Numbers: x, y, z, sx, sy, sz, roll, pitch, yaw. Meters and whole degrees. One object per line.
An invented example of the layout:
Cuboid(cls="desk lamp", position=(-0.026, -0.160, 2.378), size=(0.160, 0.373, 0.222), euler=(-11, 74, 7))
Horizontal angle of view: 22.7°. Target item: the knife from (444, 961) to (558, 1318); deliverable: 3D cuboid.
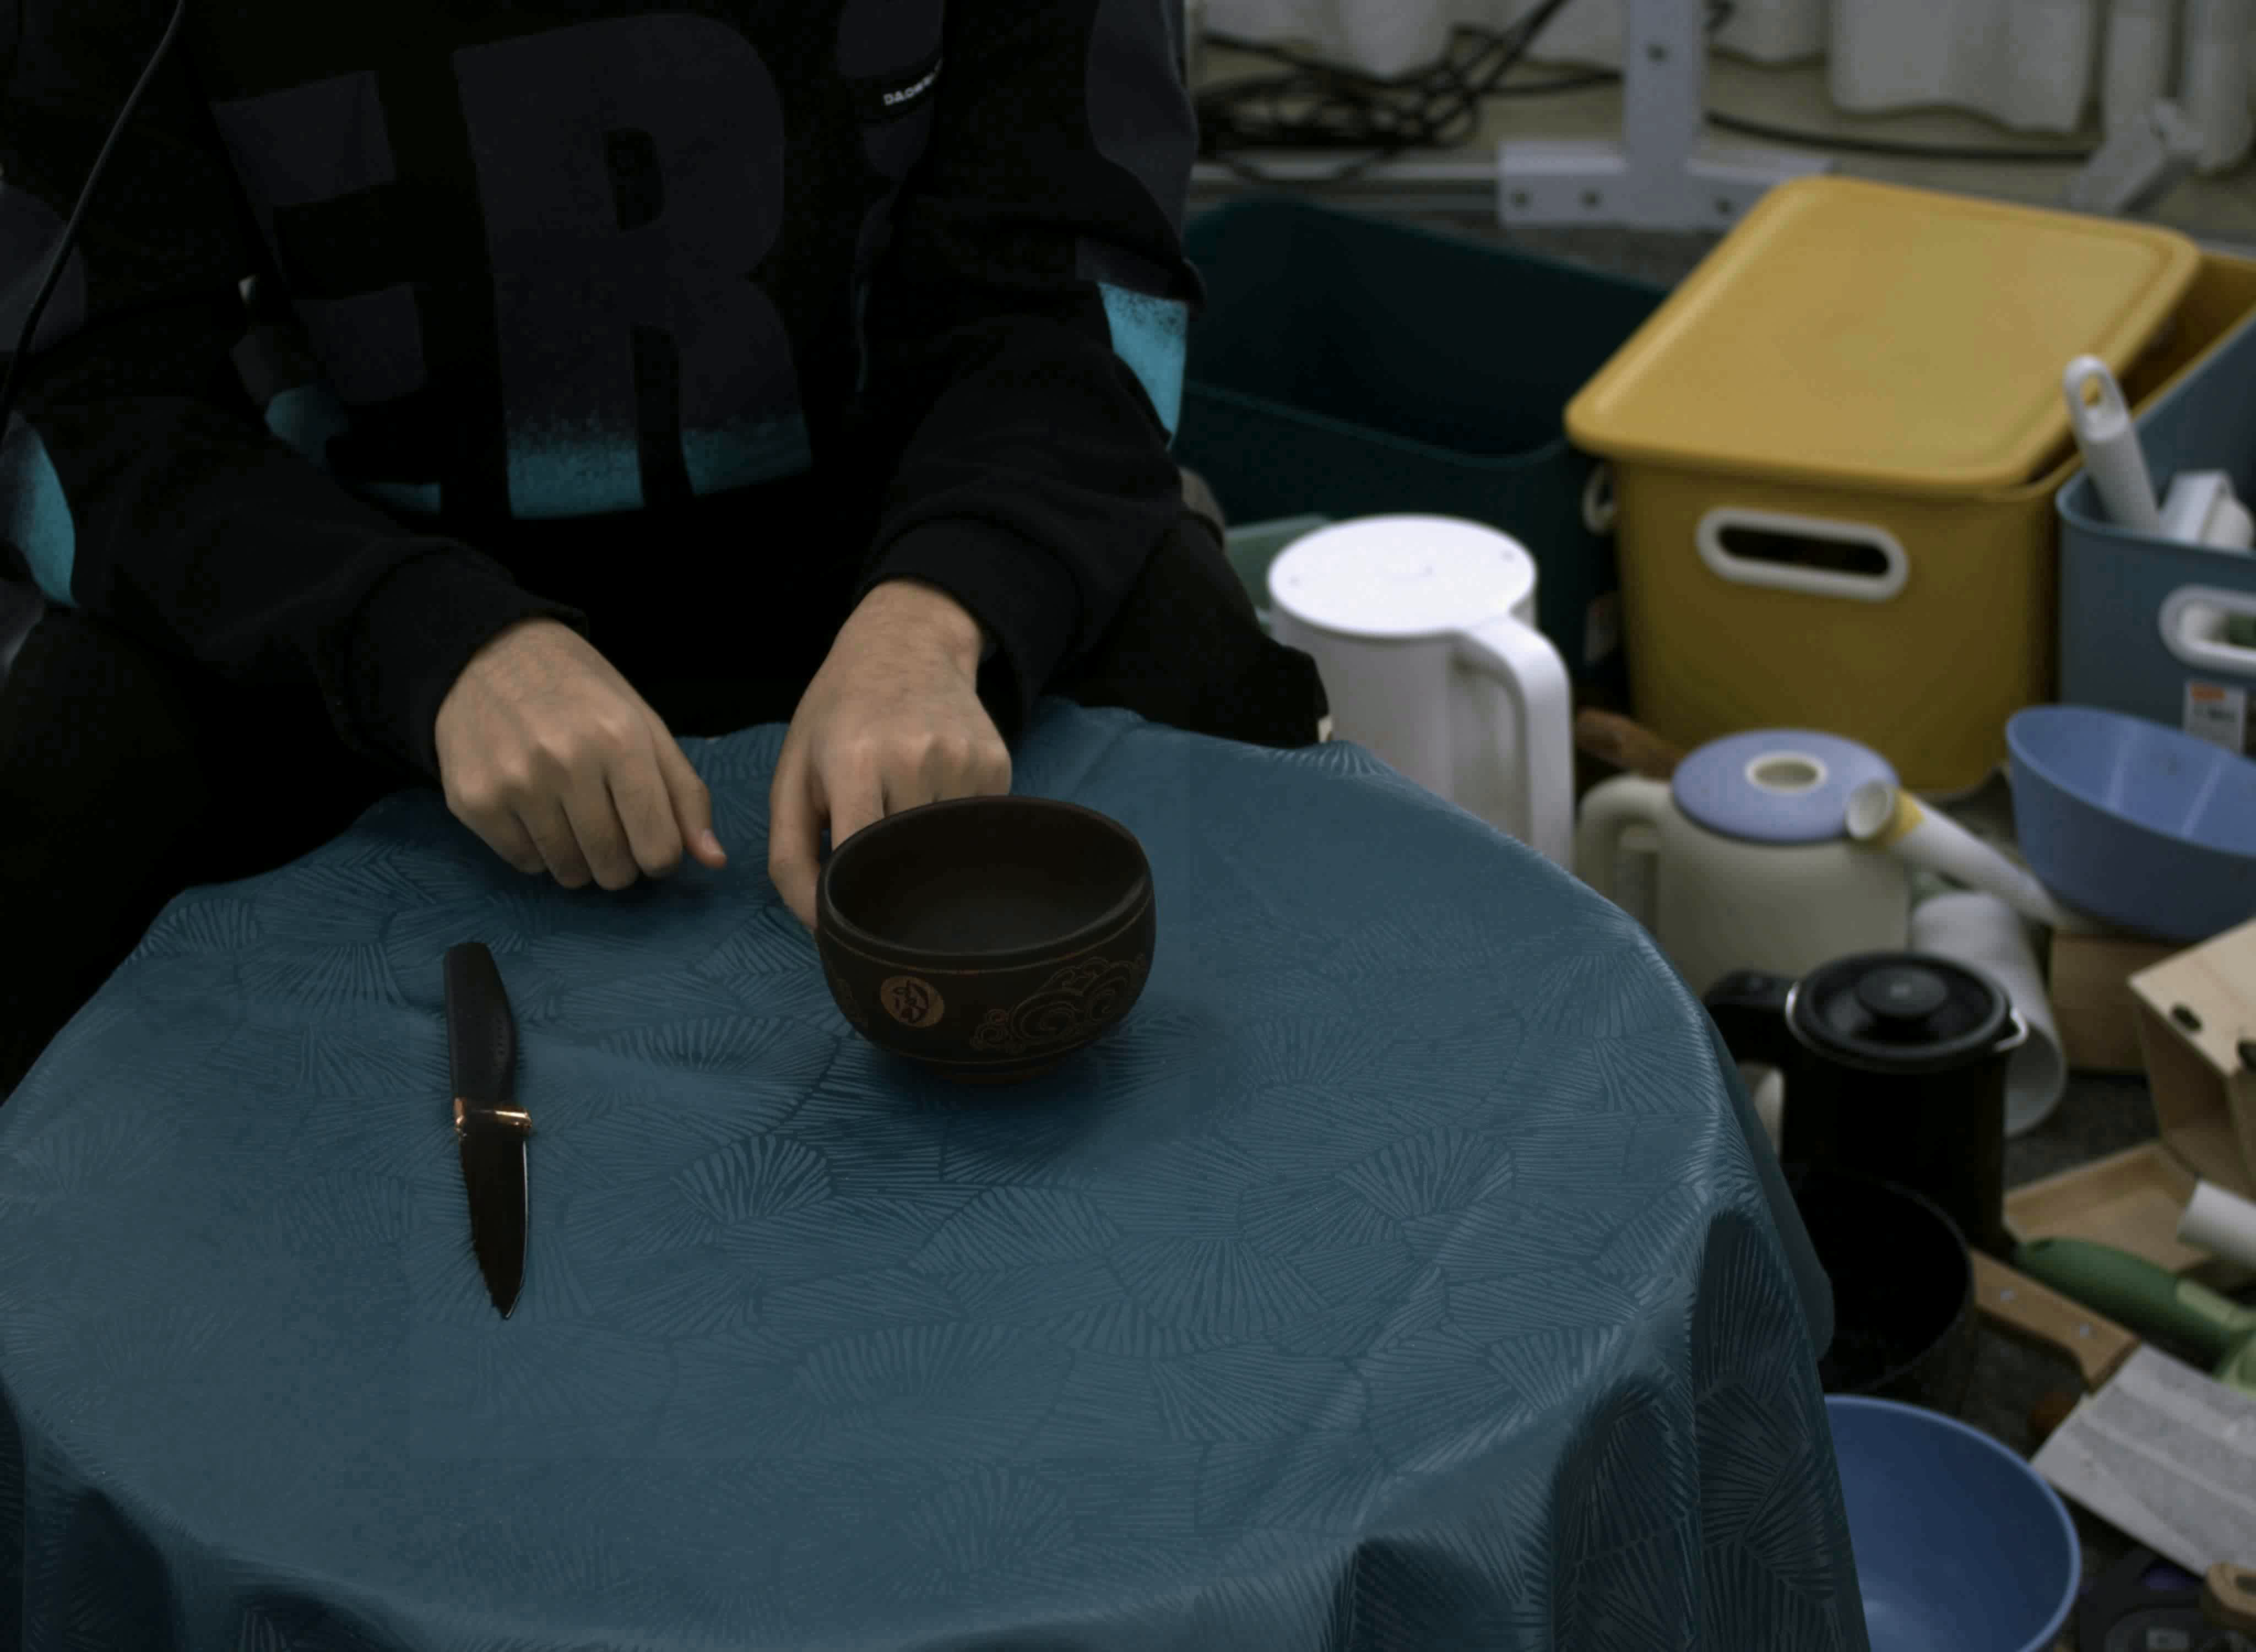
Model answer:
Cuboid(cls="knife", position=(-0.214, 0.105, 1.904), size=(0.026, 0.017, 0.228), euler=(0, 28, -12))

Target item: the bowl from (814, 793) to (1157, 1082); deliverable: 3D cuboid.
Cuboid(cls="bowl", position=(-0.048, 0.045, 1.934), size=(0.117, 0.069, 0.120), euler=(-1, 26, 1))
